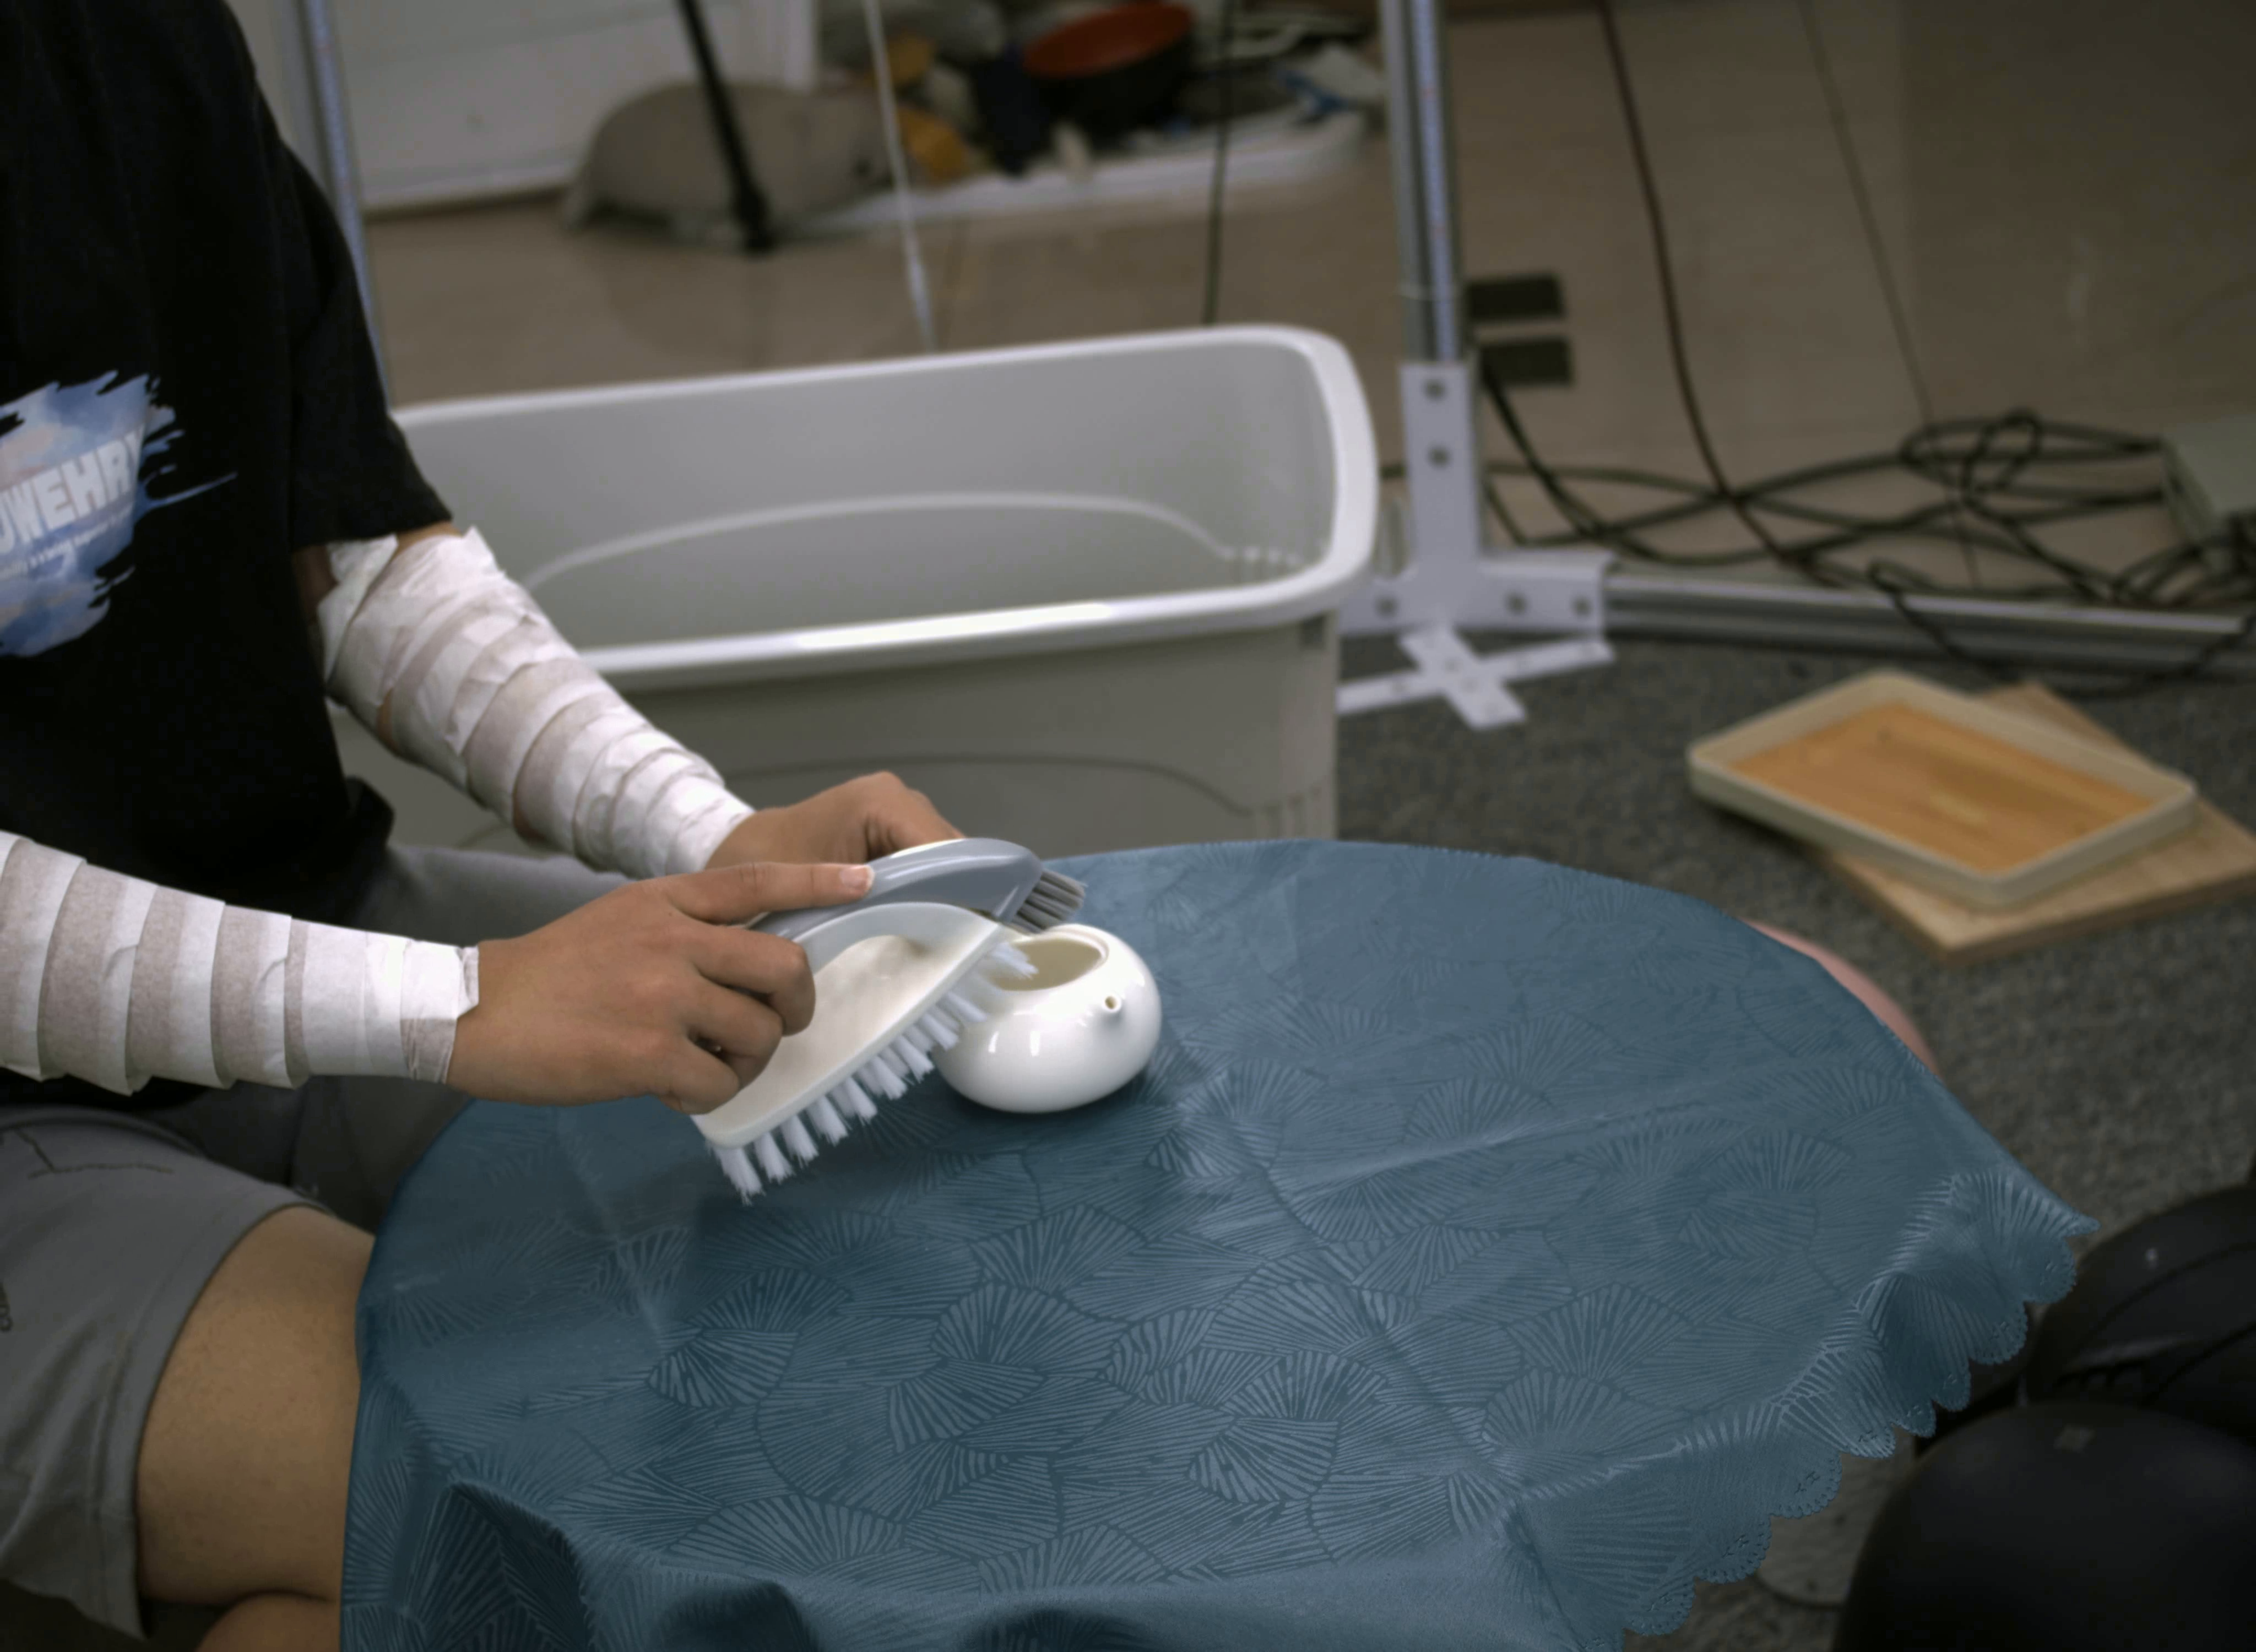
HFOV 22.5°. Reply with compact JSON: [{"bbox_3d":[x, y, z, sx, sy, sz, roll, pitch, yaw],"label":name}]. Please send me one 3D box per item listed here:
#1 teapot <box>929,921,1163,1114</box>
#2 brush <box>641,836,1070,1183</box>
[{"bbox_3d":[-0.040,0.073,2.235,0.092,0.057,0.126,-29,31,-32],"label":"teapot"},{"bbox_3d":[-0.108,0.053,2.161,0.175,0.096,0.060,-34,51,-1],"label":"brush"}]
